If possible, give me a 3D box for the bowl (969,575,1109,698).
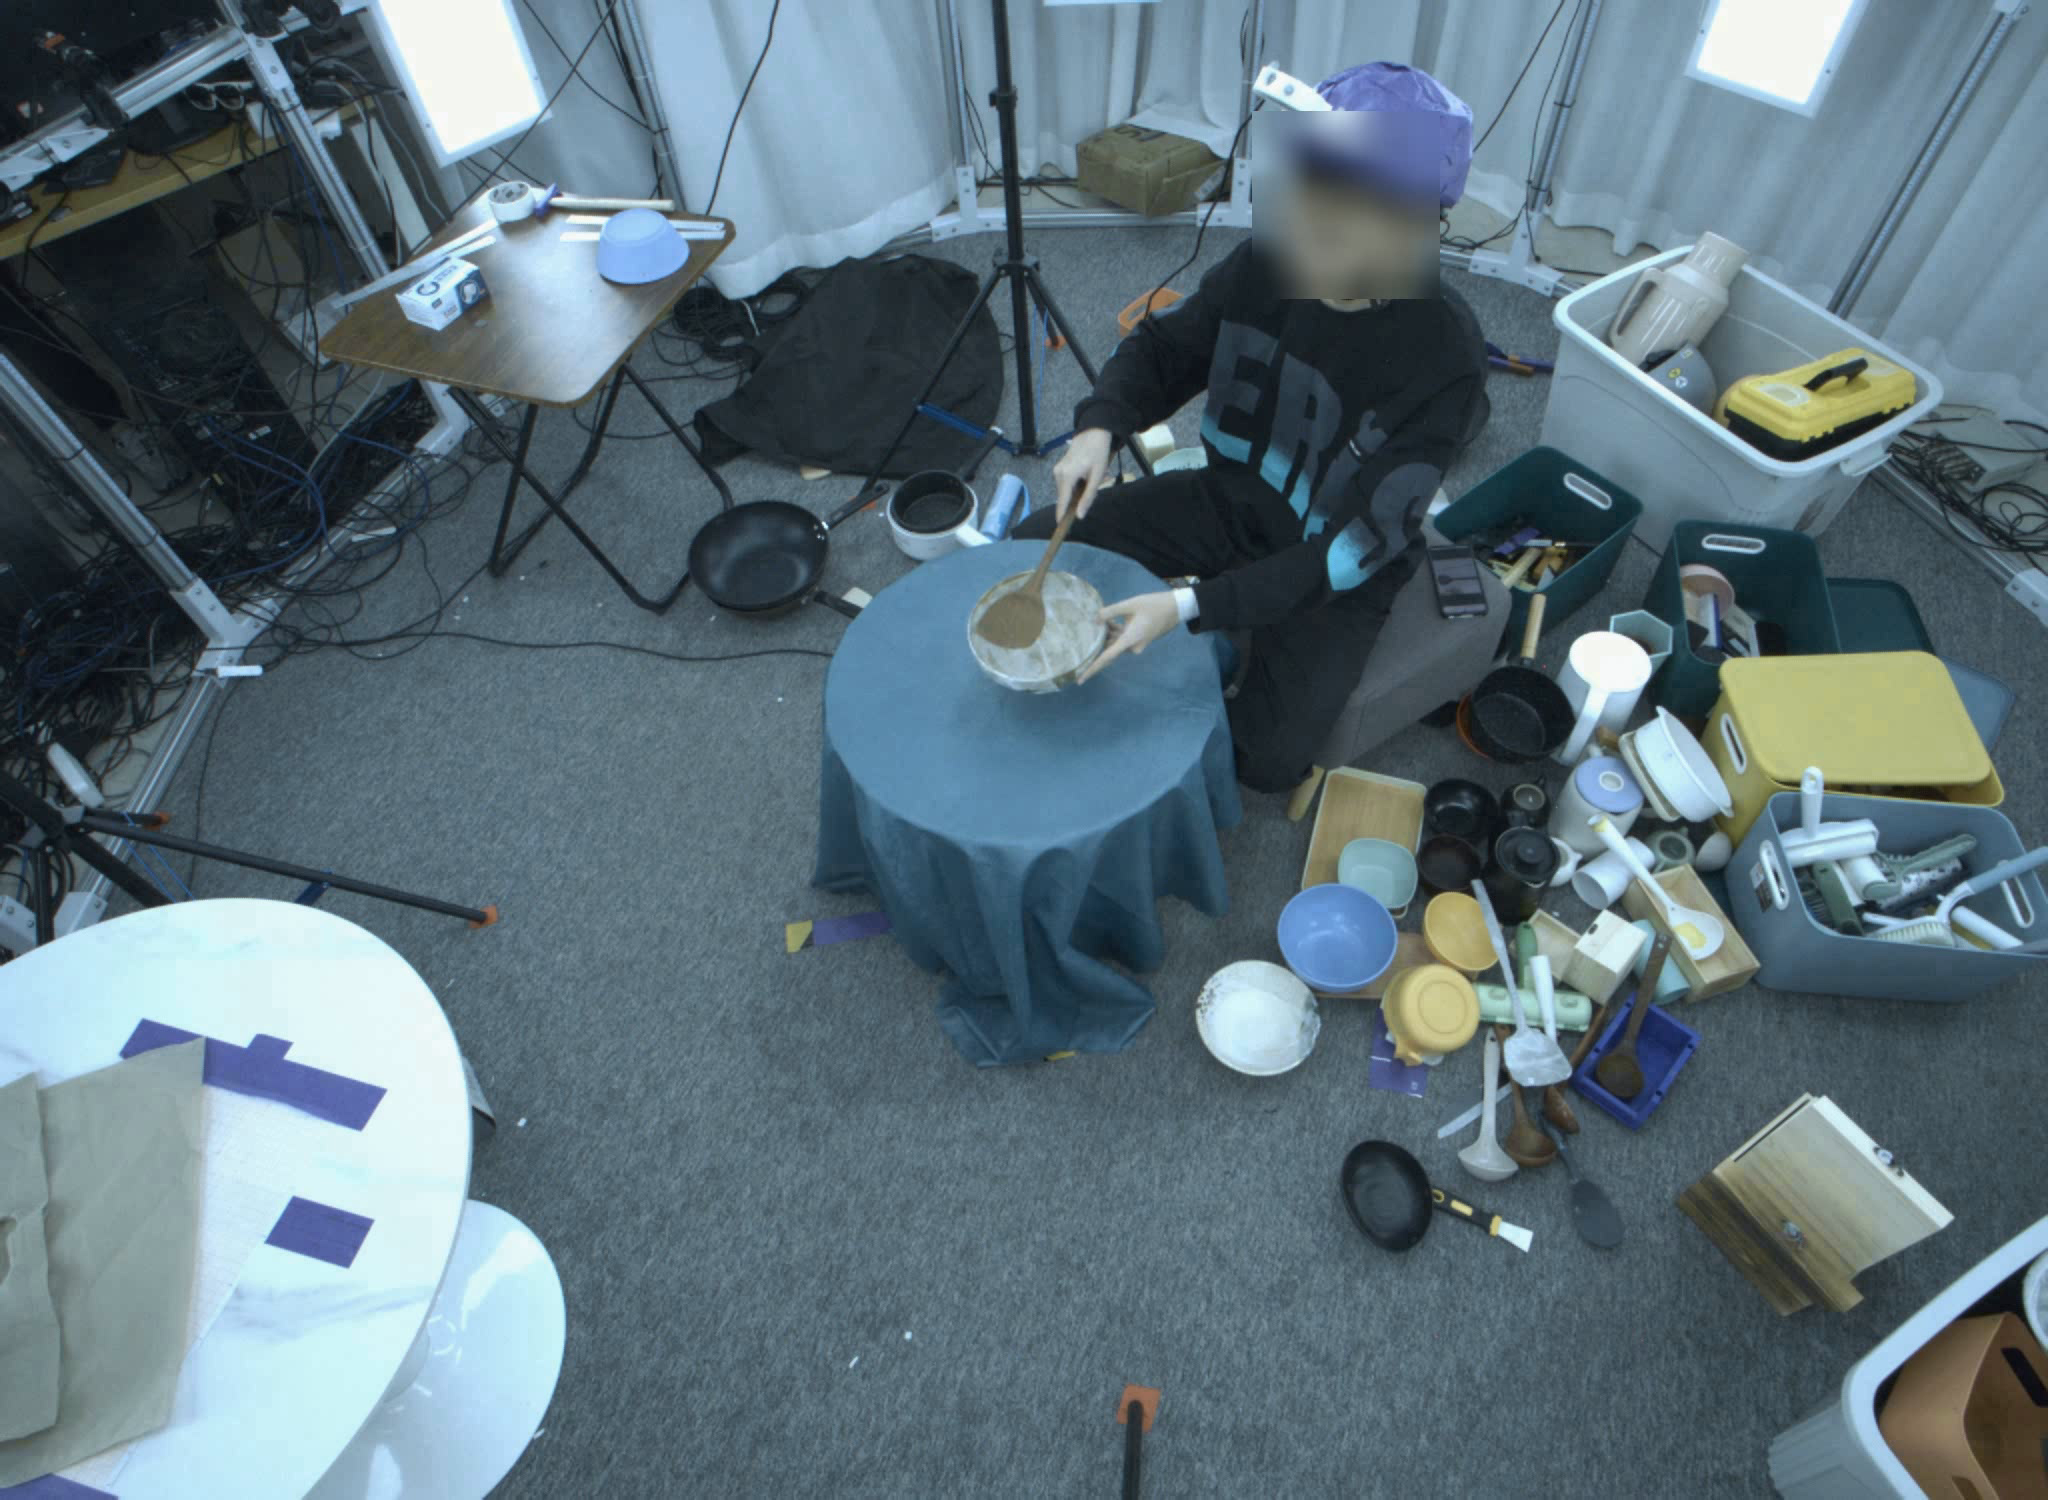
[{"bbox_3d":[0.029,-0.153,1.802,0.214,0.096,0.212,-2,58,5],"label":"bowl"}]

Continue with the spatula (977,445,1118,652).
[{"bbox_3d":[0.050,-0.306,1.801,0.094,0.016,0.386,21,71,20],"label":"spatula"}]
